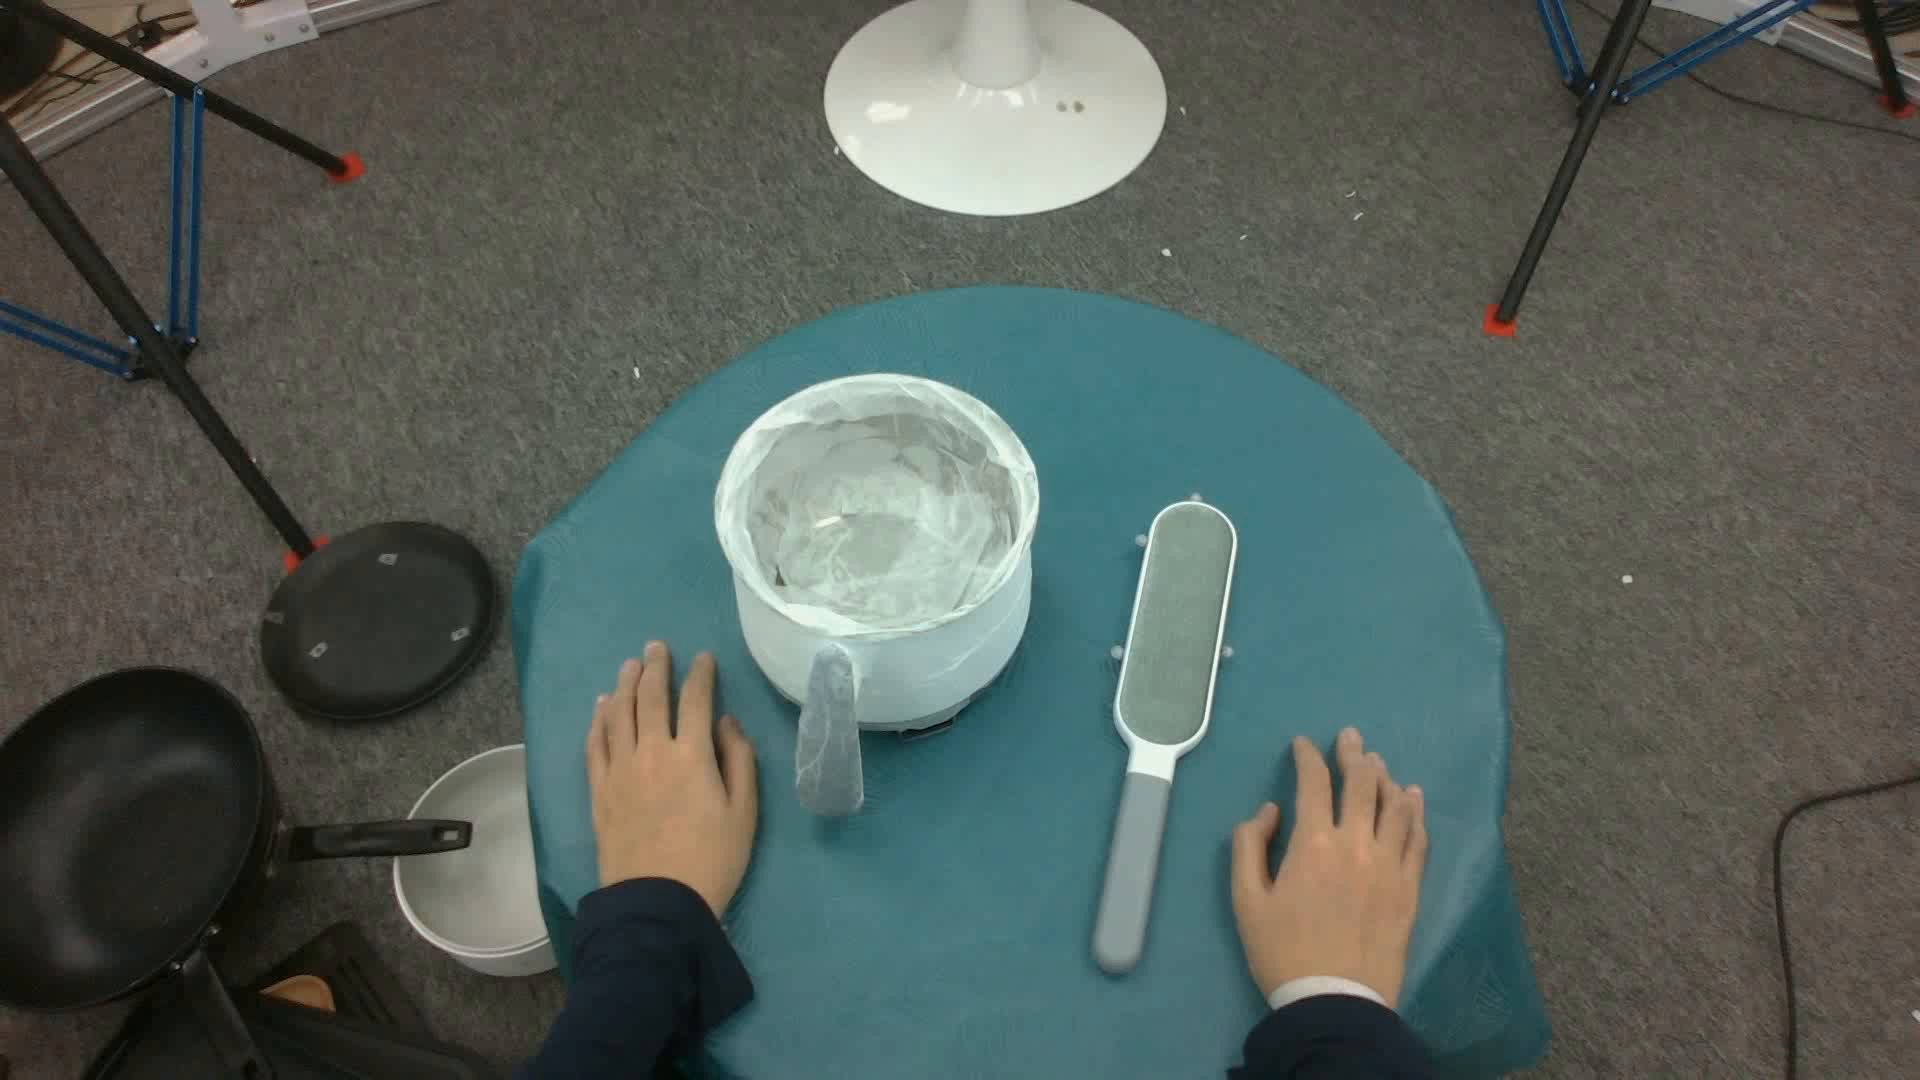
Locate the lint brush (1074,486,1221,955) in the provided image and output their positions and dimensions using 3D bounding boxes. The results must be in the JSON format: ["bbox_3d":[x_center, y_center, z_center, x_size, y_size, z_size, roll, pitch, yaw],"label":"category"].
[{"bbox_3d":[0.107,0.093,0.811,0.060,0.021,0.310,15,57,2],"label":"lint brush"}]

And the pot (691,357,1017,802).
[{"bbox_3d":[-0.061,0.025,0.784,0.178,0.136,0.235,7,56,6],"label":"pot"}]
